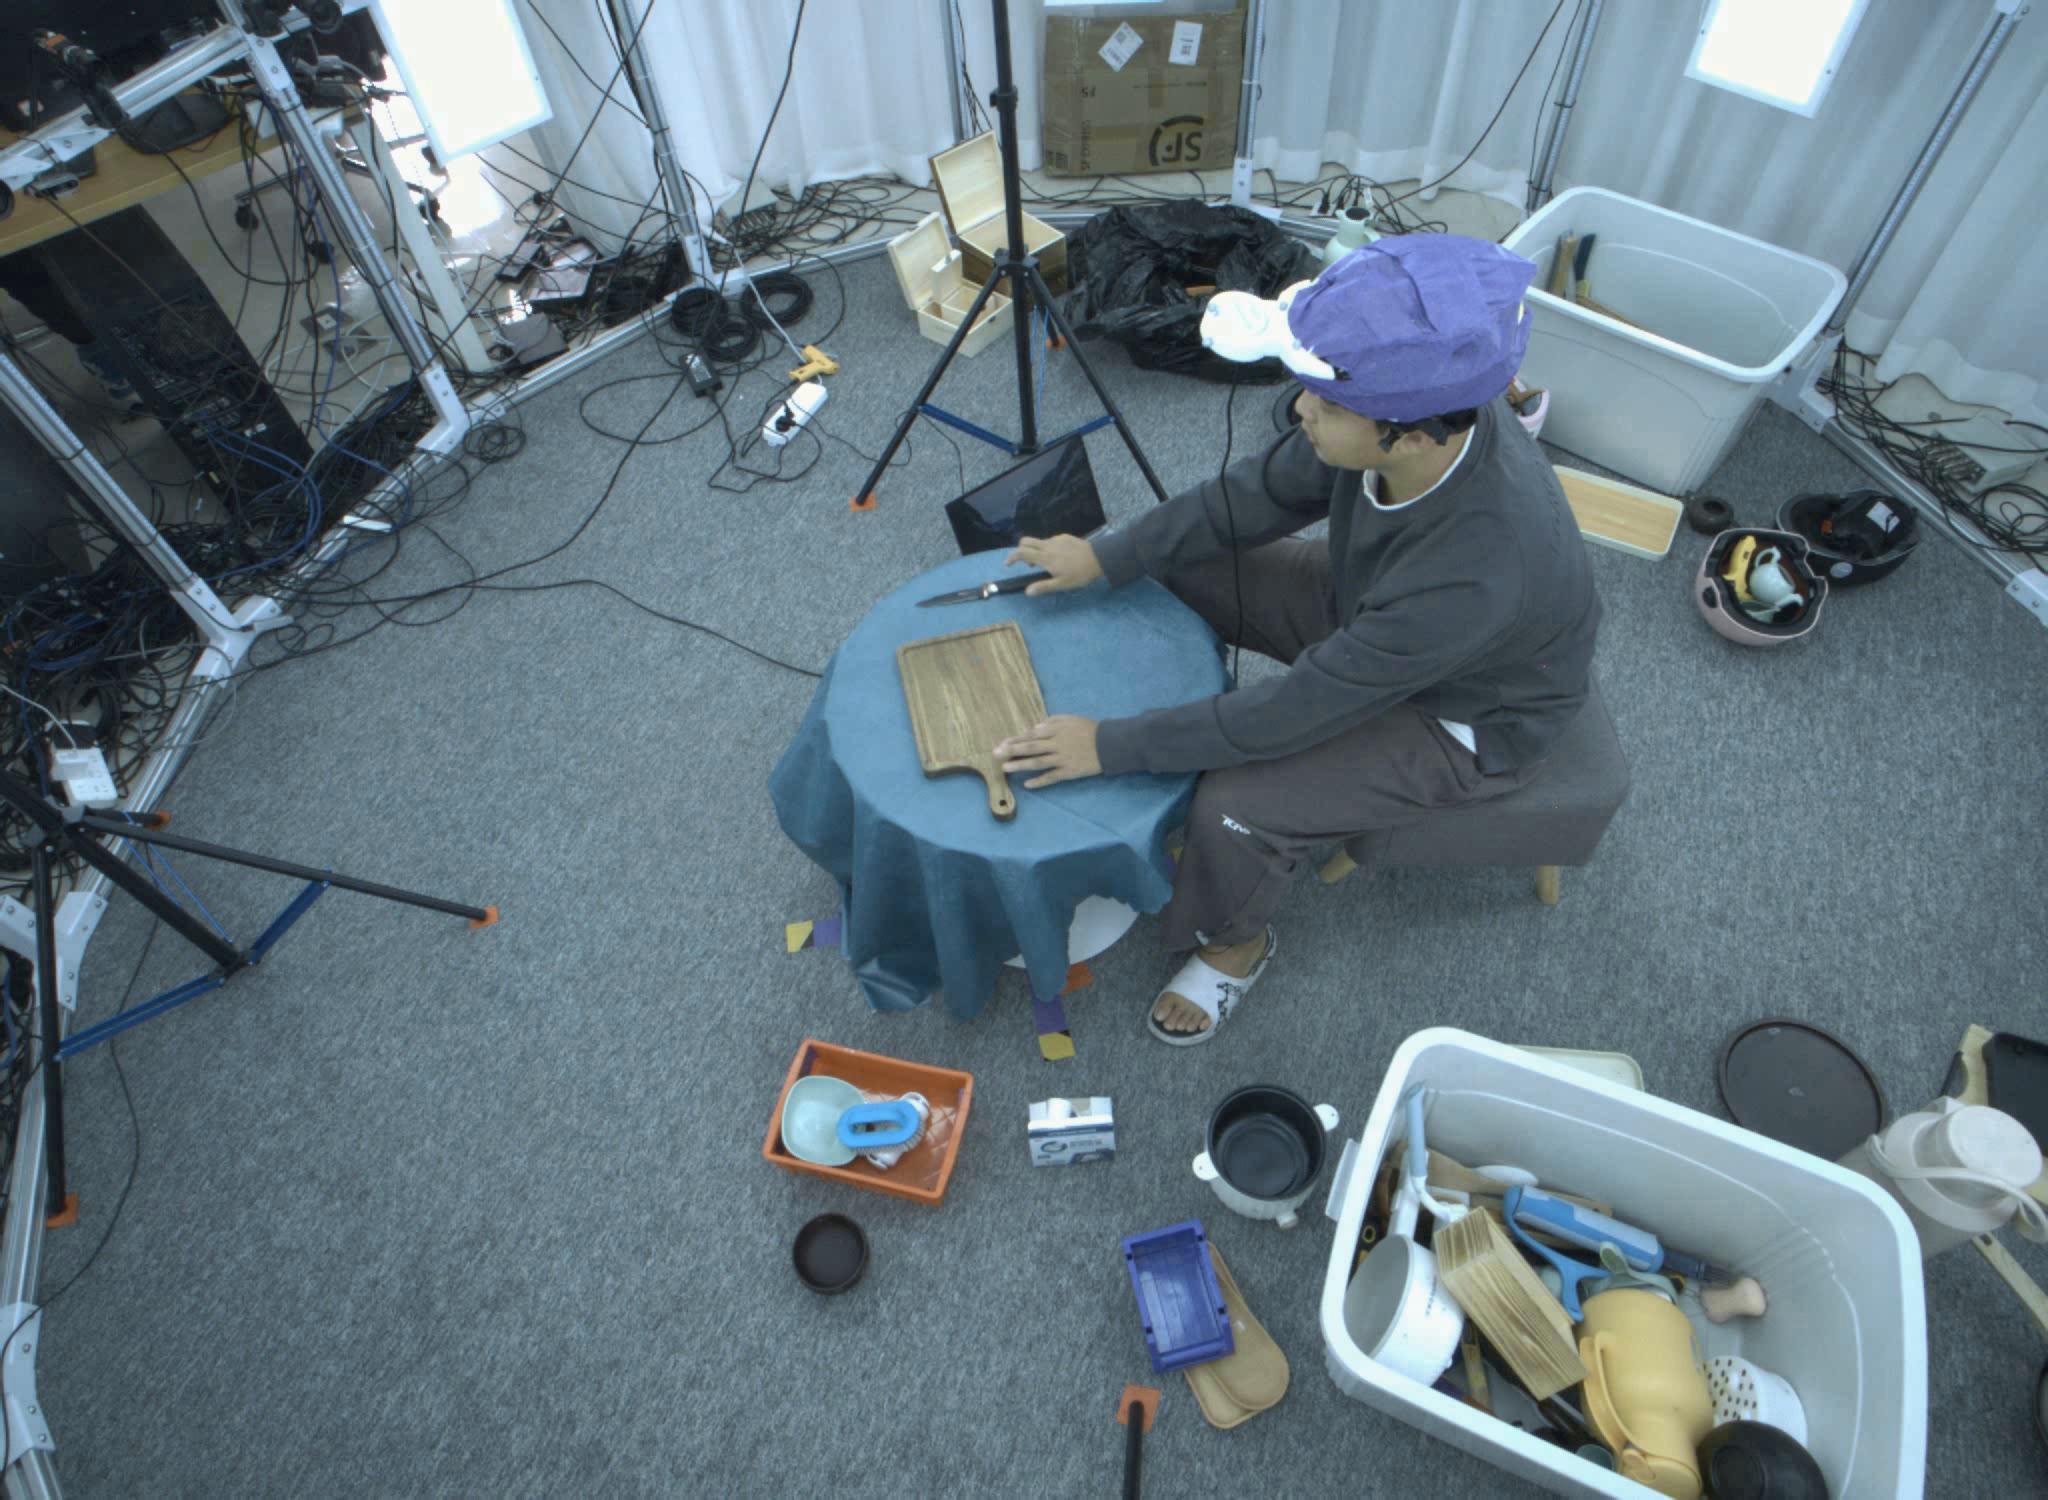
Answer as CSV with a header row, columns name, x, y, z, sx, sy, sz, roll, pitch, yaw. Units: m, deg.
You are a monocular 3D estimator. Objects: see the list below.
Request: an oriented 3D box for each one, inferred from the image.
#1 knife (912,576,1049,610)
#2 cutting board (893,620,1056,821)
name,x,y,z,sx,sy,sz,roll,pitch,yaw
knife,-0.069,-0.251,1.960,0.226,0.017,0.026,-11,60,-6
cutting board,-0.066,-0.042,1.807,0.202,0.023,0.346,-12,56,-7
